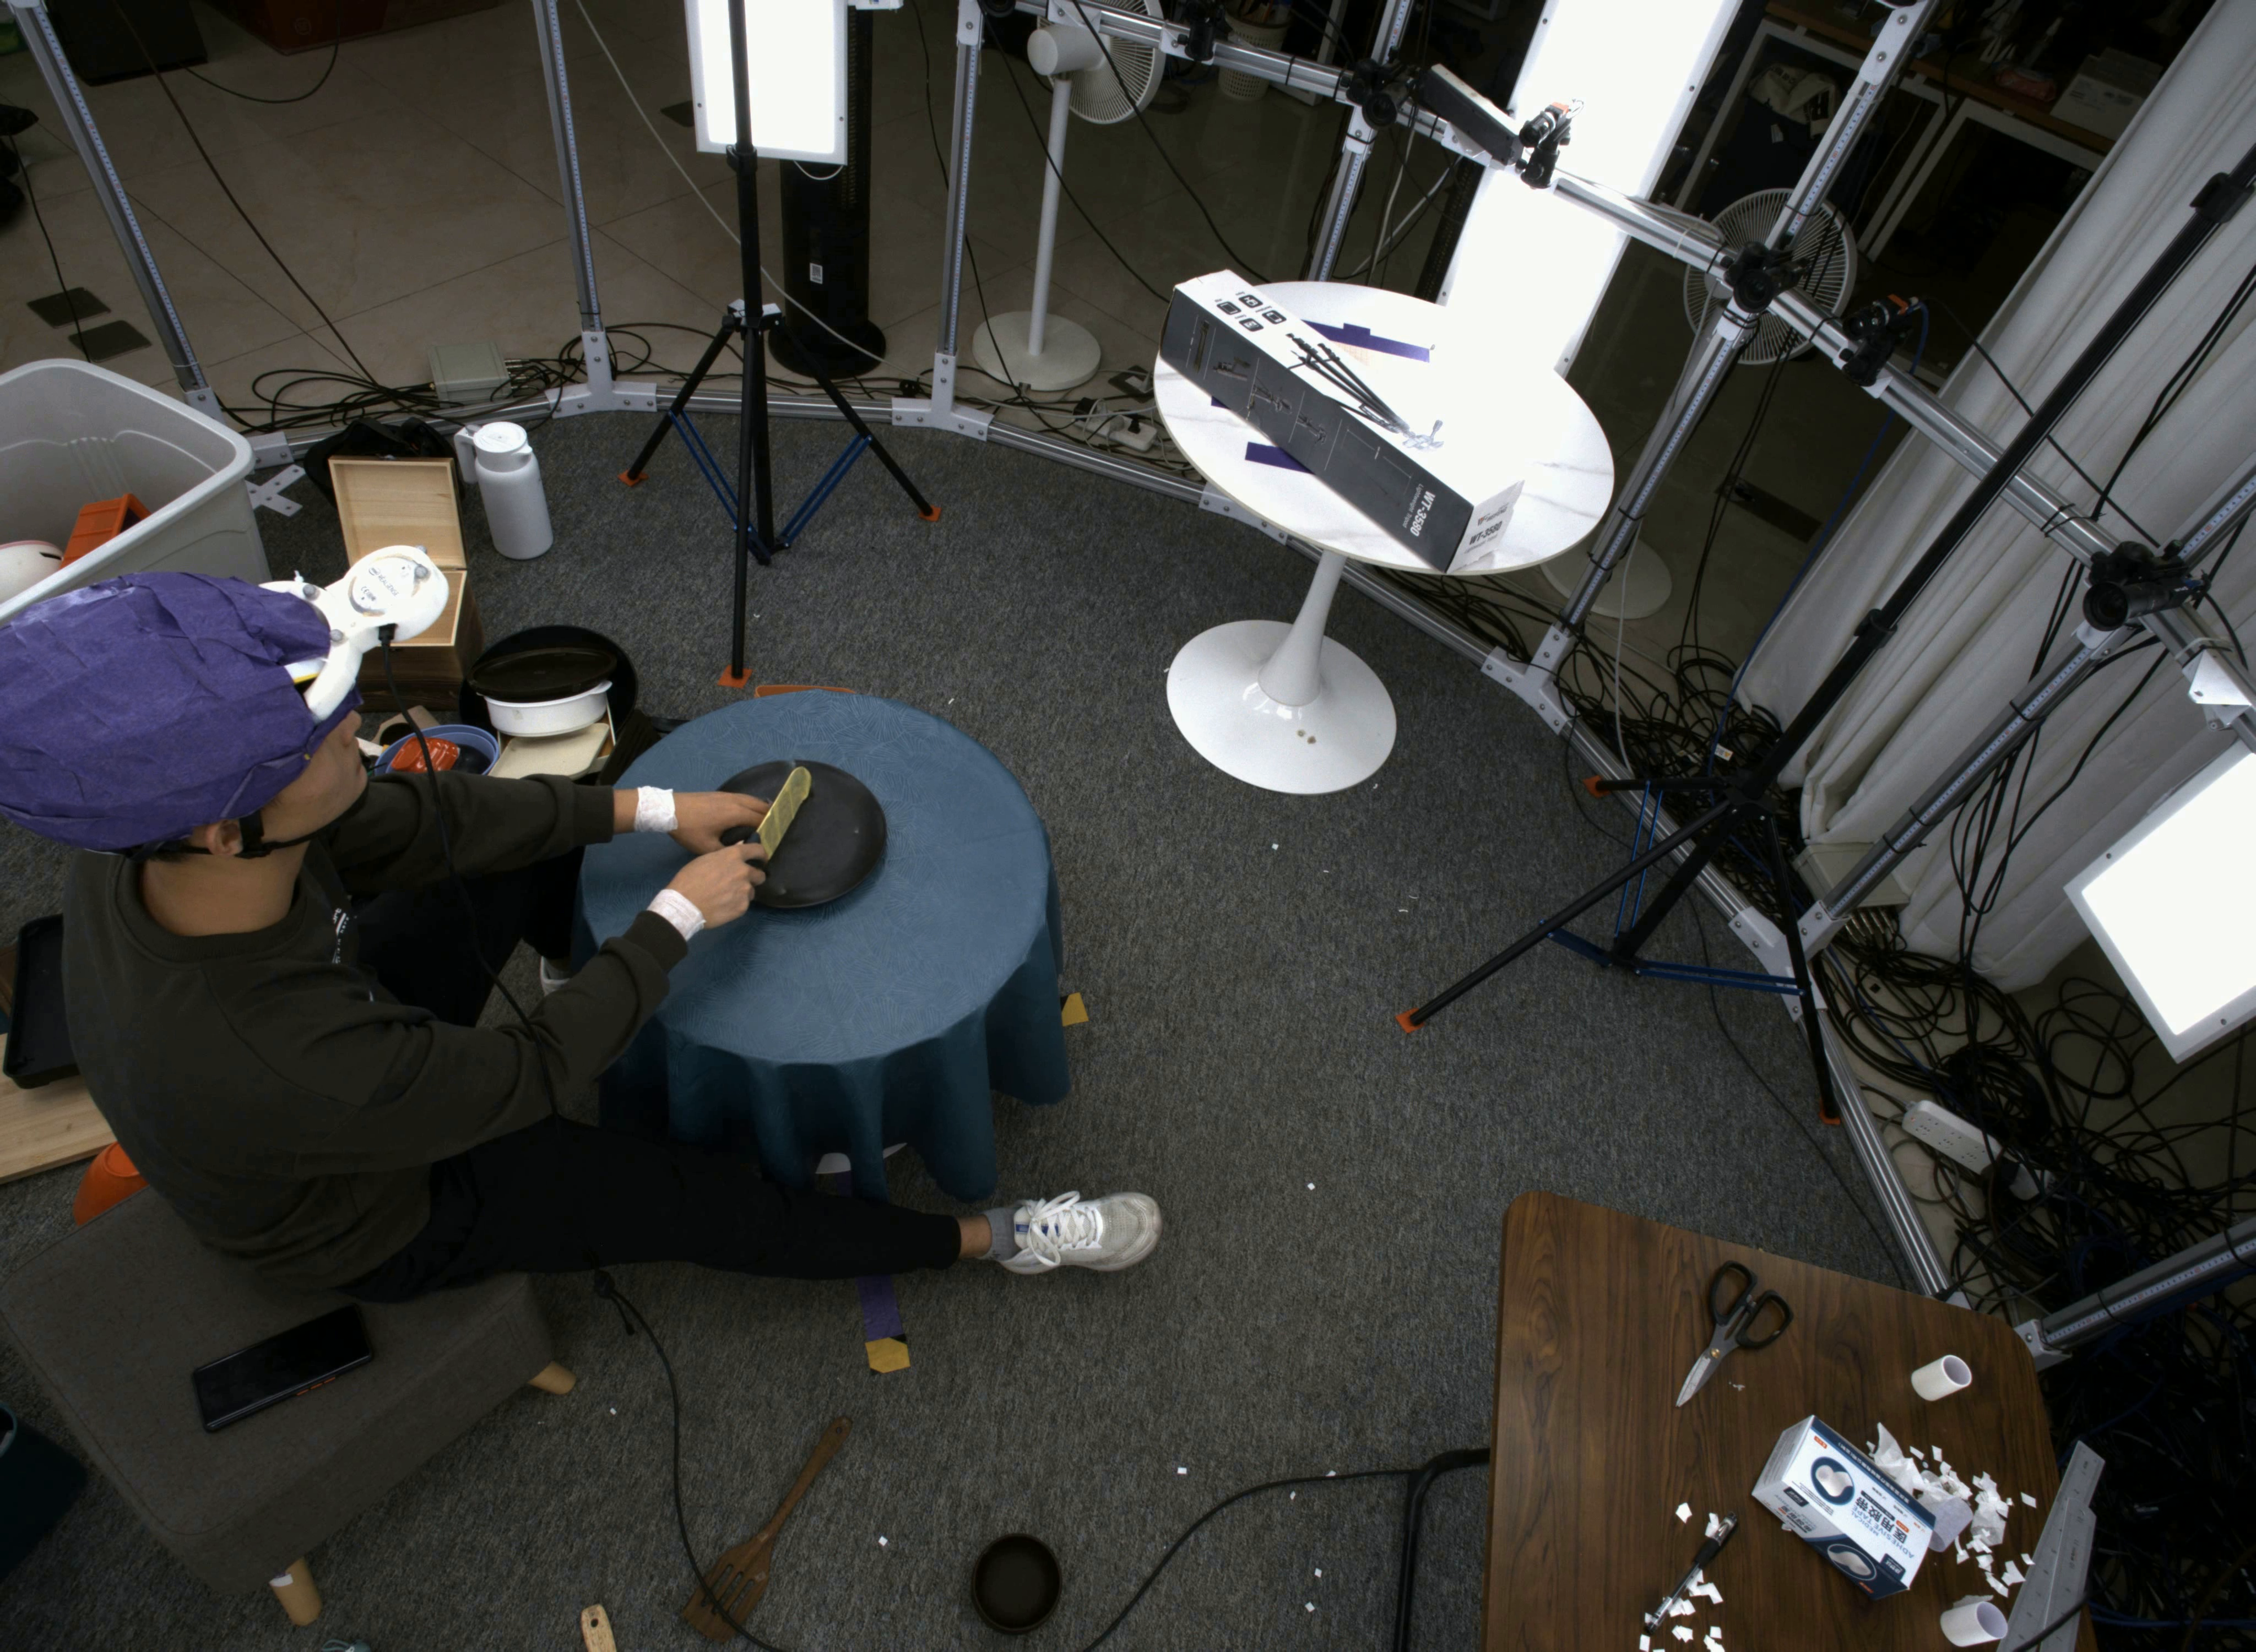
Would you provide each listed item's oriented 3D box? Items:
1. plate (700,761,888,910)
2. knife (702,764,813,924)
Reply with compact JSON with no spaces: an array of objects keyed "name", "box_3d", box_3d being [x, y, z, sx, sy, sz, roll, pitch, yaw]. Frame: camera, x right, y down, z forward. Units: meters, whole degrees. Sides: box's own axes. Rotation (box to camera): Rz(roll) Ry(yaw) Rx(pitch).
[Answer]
[{"name":"plate","box_3d":[-0.438,0.012,1.707,0.244,0.024,0.240,8,52,-9]},{"name":"knife","box_3d":[-0.463,0.022,1.644,0.027,0.083,0.286,13,46,9]}]
